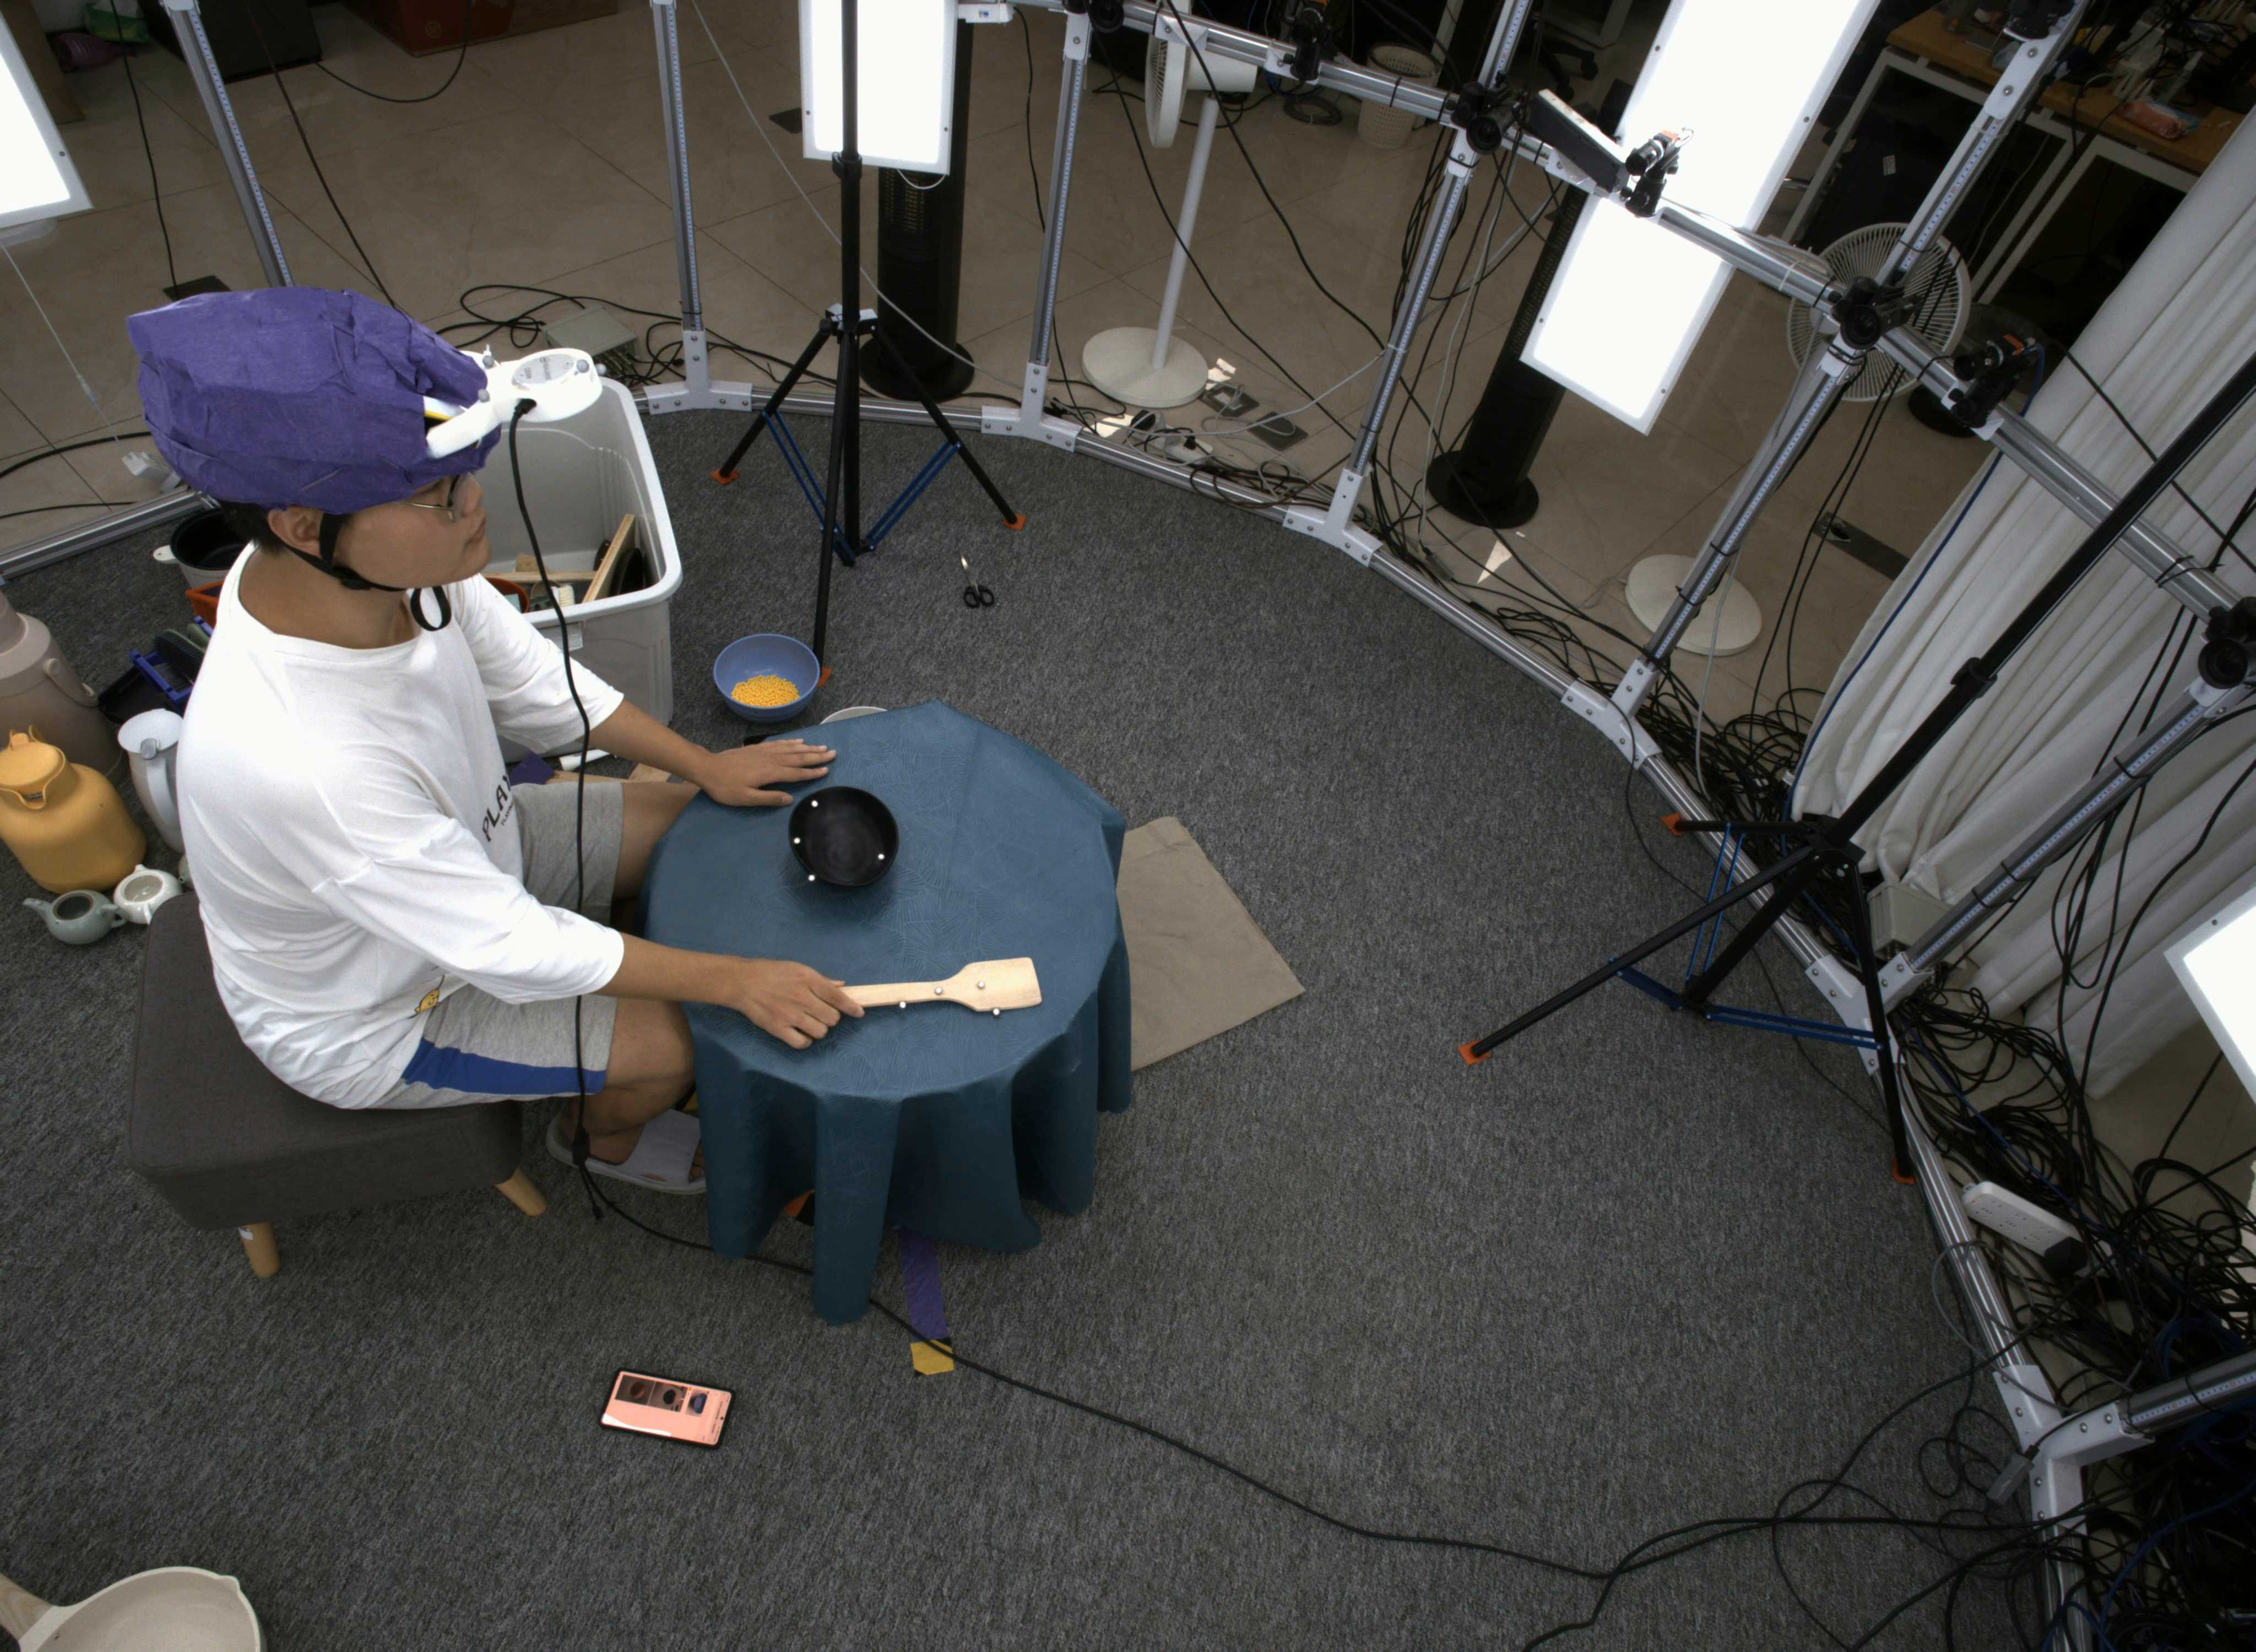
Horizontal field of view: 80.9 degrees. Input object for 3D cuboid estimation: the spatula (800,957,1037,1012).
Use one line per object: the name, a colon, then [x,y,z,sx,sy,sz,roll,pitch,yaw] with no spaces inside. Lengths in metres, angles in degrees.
spatula: [-0.256,0.202,1.604,0.295,0.011,0.070,-3,55,-23]

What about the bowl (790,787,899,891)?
bowl: [-0.368,0.024,1.689,0.138,0.068,0.166,-14,56,-21]
